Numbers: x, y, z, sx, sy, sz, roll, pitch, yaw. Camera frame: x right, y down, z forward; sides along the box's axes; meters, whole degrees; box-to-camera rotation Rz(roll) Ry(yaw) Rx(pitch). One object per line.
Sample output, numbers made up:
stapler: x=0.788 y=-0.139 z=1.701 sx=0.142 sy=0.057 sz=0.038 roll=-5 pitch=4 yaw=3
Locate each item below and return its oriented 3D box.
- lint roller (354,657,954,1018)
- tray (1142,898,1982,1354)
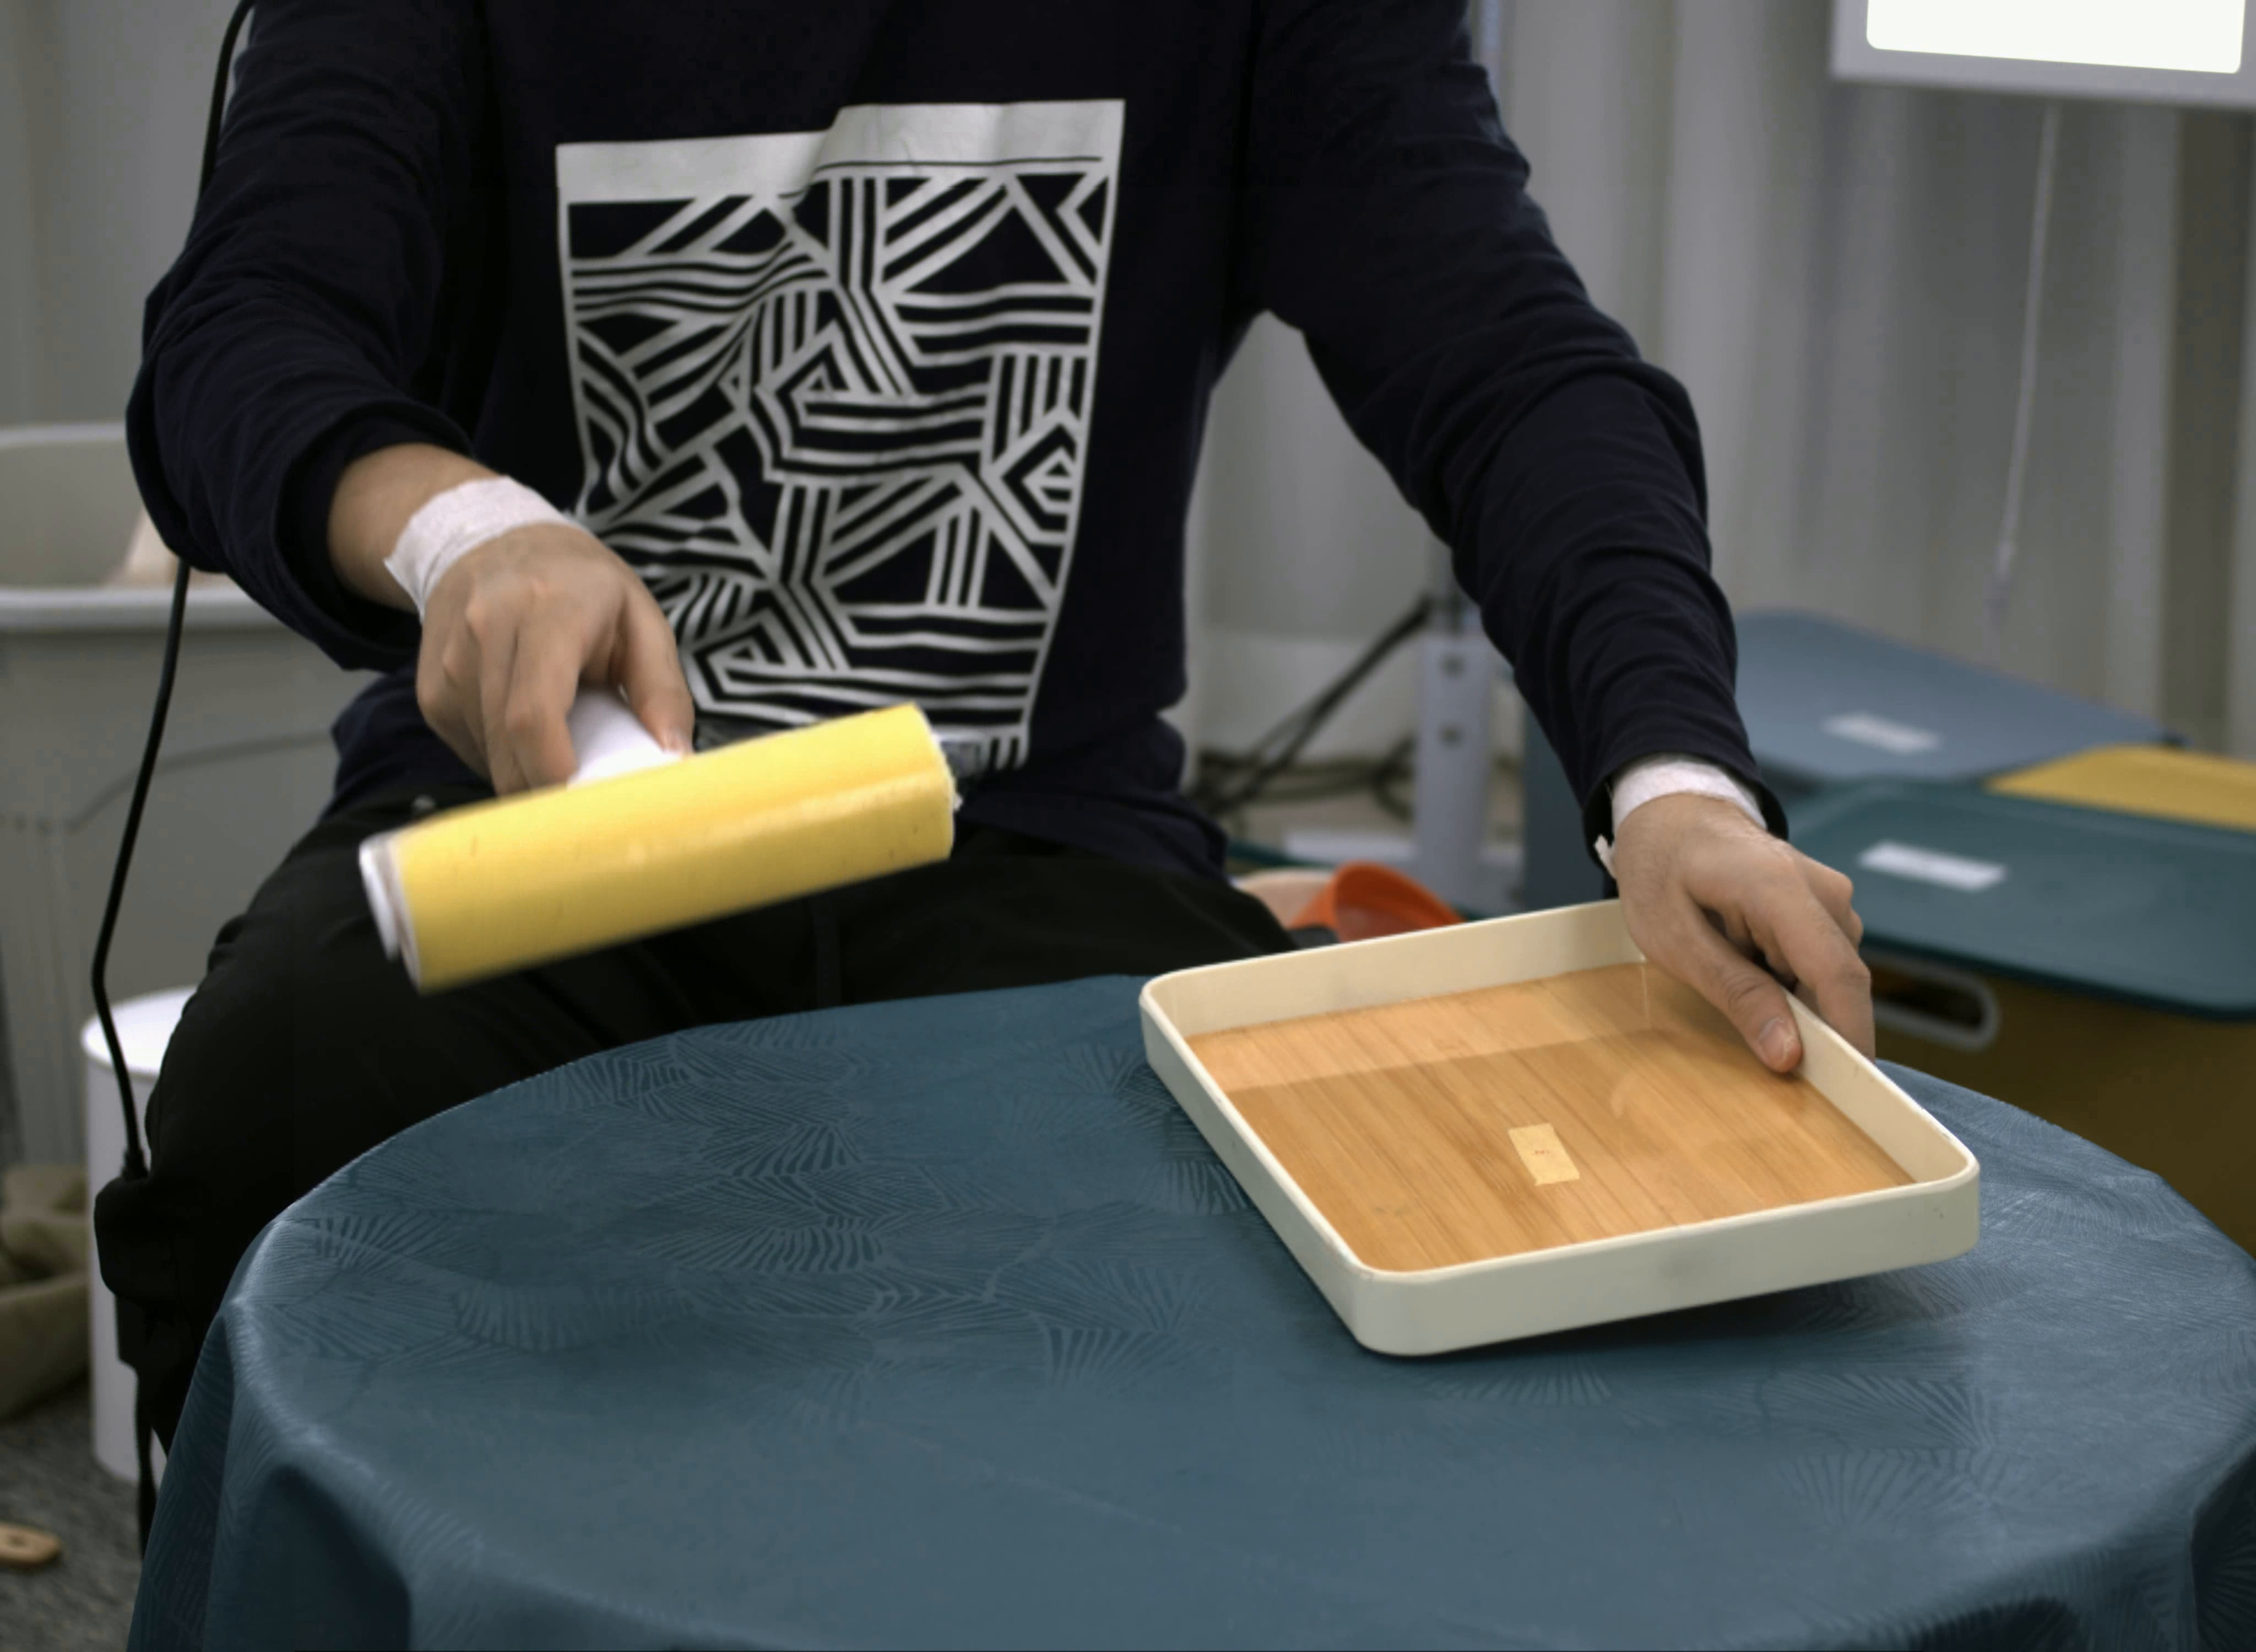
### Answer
lint roller: x=-0.159 y=-0.021 z=1.580 sx=0.174 sy=0.052 sz=0.189 roll=-17 pitch=34 yaw=-13
tray: x=0.126 y=0.088 z=1.631 sx=0.191 sy=0.027 sz=0.297 roll=-9 pitch=17 yaw=-11
